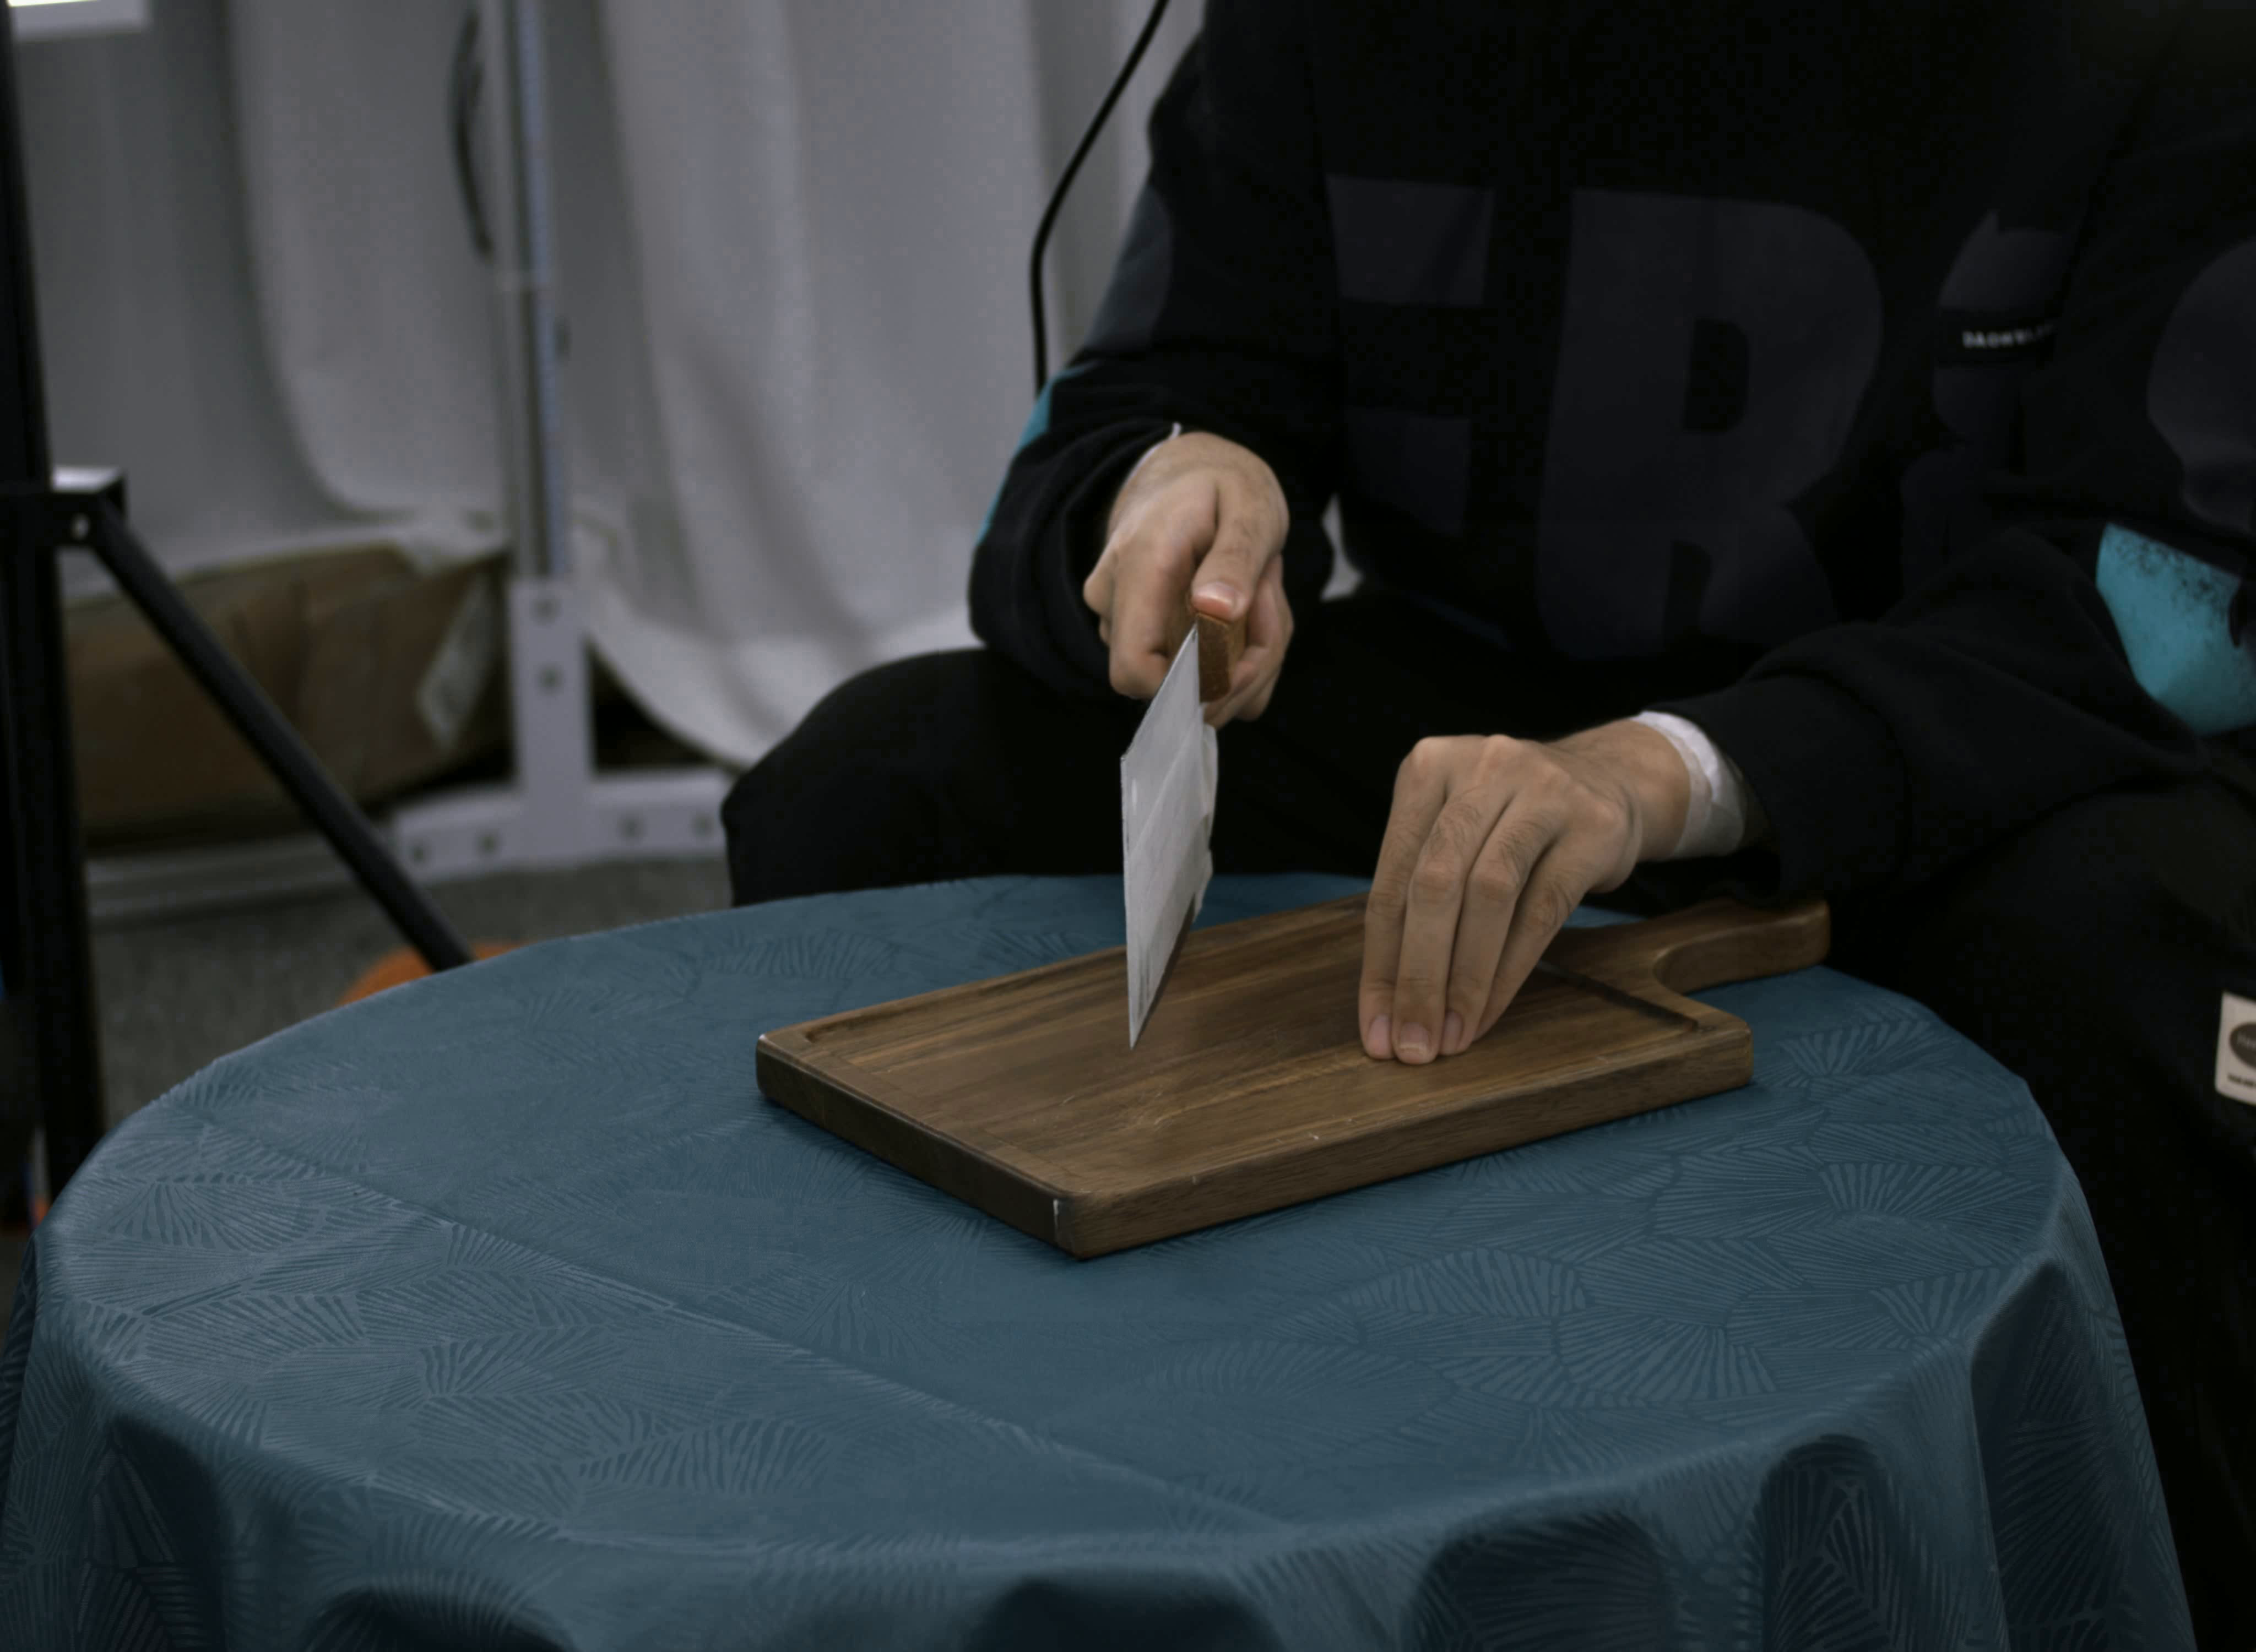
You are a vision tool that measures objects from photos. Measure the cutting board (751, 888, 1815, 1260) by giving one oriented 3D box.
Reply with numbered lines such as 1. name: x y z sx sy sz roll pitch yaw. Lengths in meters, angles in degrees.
1. cutting board: 0.078 0.064 1.662 0.344 0.023 0.205 -12 19 -30

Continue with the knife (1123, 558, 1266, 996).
1. knife: 0.019 -0.017 1.681 0.021 0.093 0.305 0 15 7
